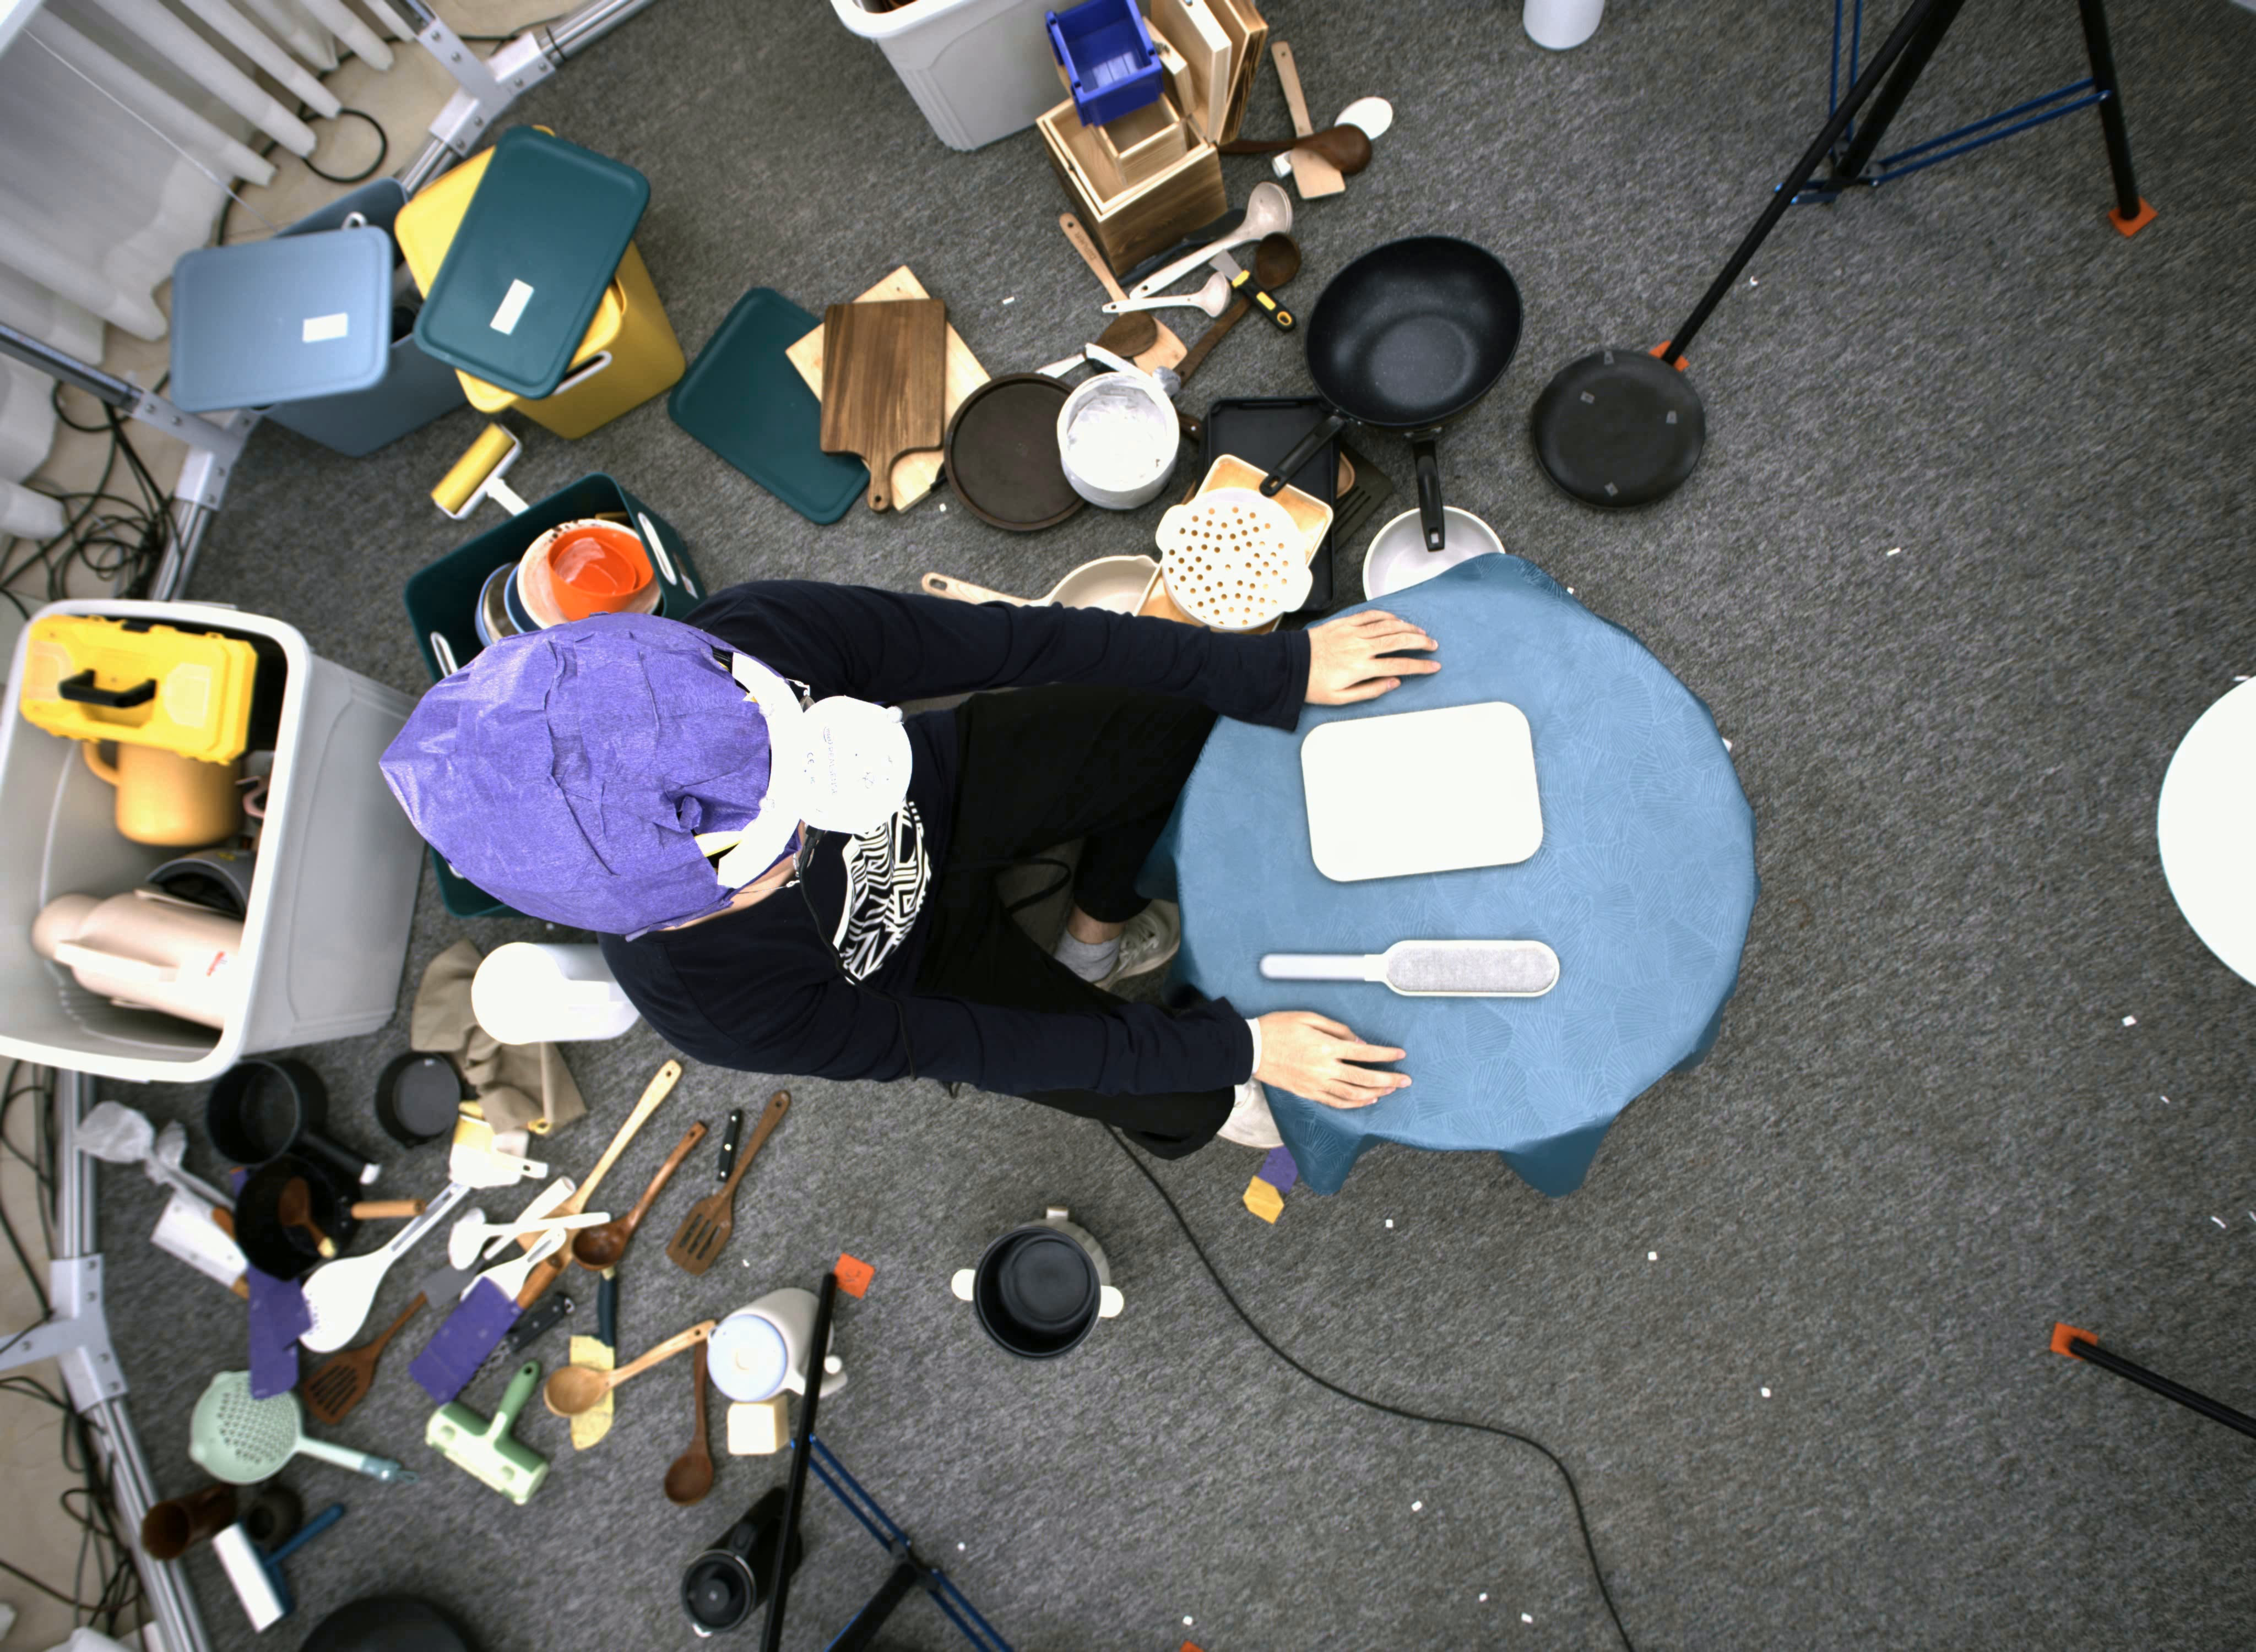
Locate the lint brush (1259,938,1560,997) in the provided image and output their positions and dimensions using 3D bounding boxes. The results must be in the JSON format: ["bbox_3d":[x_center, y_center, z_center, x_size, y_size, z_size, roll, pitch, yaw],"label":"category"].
[{"bbox_3d":[0.291,0.144,1.438,0.310,0.021,0.060,0,92,11],"label":"lint brush"}]

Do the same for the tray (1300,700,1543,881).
[{"bbox_3d":[0.307,-0.038,1.450,0.241,0.017,0.170,-7,86,10],"label":"tray"}]
